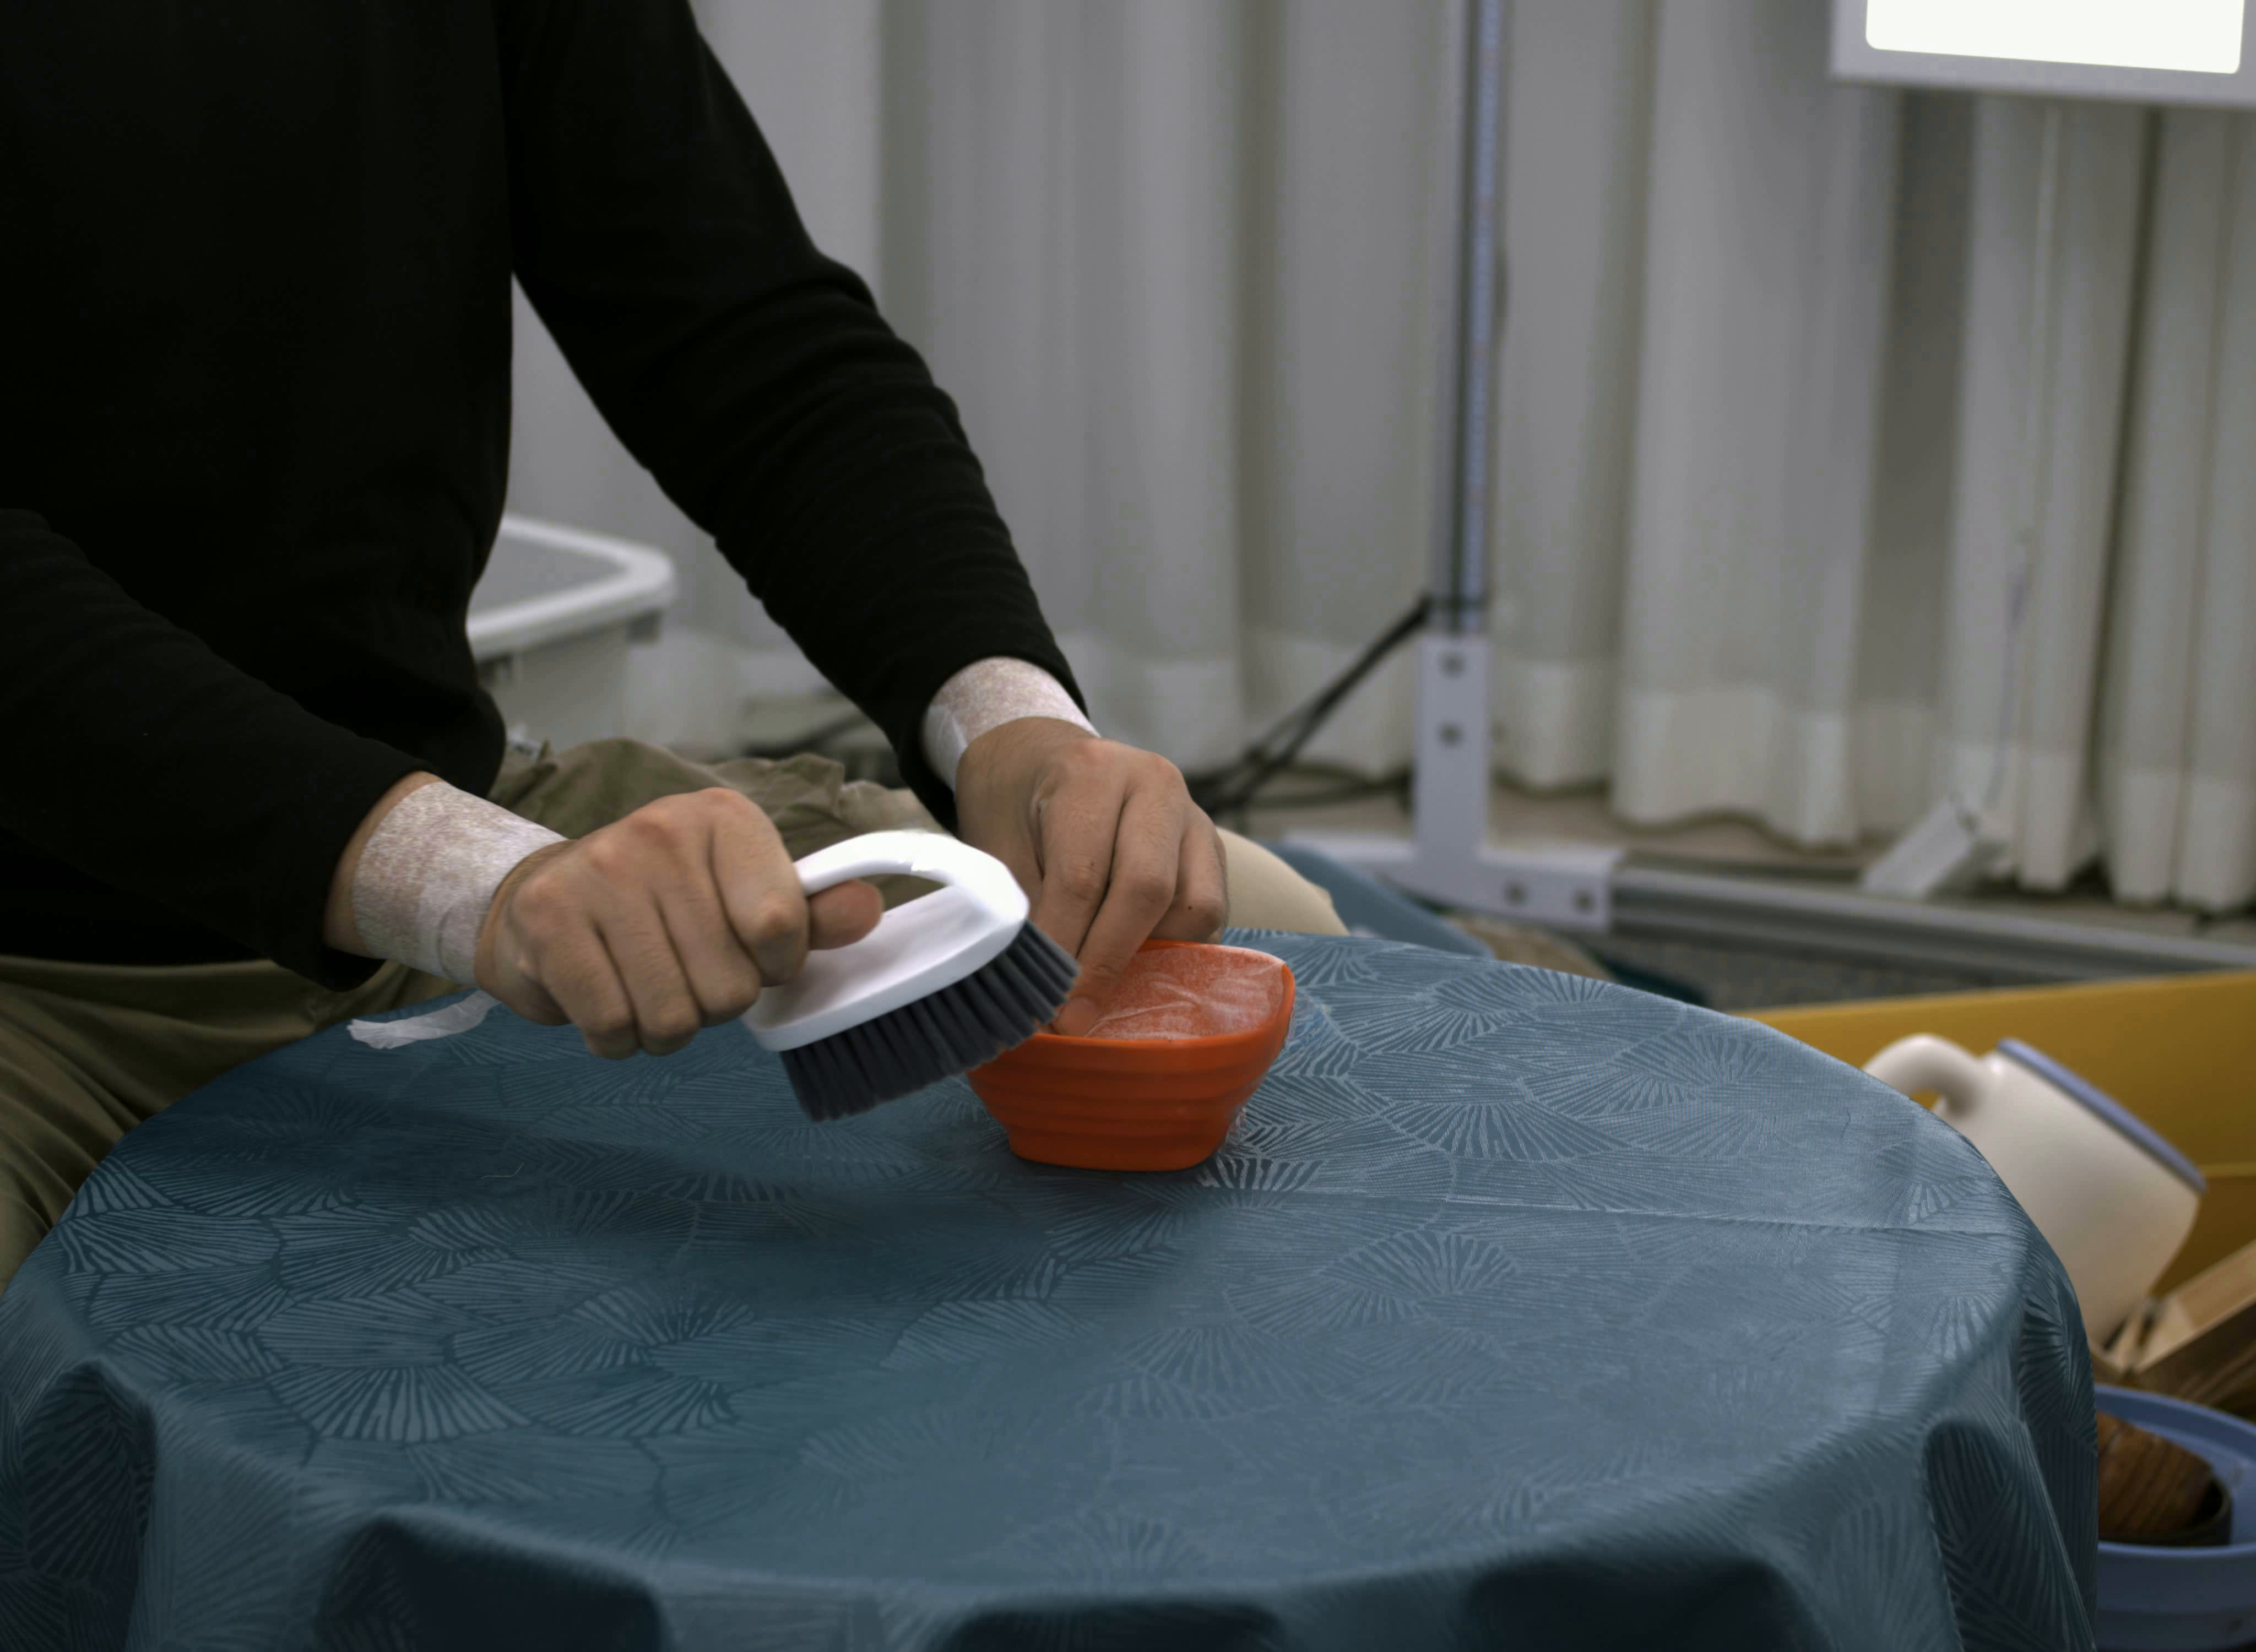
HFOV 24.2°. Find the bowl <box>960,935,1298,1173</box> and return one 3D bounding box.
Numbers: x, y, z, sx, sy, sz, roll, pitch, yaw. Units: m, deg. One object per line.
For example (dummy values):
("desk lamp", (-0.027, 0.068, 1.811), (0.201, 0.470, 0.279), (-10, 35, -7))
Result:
("bowl", (-0.002, 0.074, 1.662), (0.118, 0.052, 0.118), (2, 16, 0))

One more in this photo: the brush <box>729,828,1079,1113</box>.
("brush", (-0.074, 0.037, 1.564), (0.098, 0.073, 0.050), (-21, 28, 28))
